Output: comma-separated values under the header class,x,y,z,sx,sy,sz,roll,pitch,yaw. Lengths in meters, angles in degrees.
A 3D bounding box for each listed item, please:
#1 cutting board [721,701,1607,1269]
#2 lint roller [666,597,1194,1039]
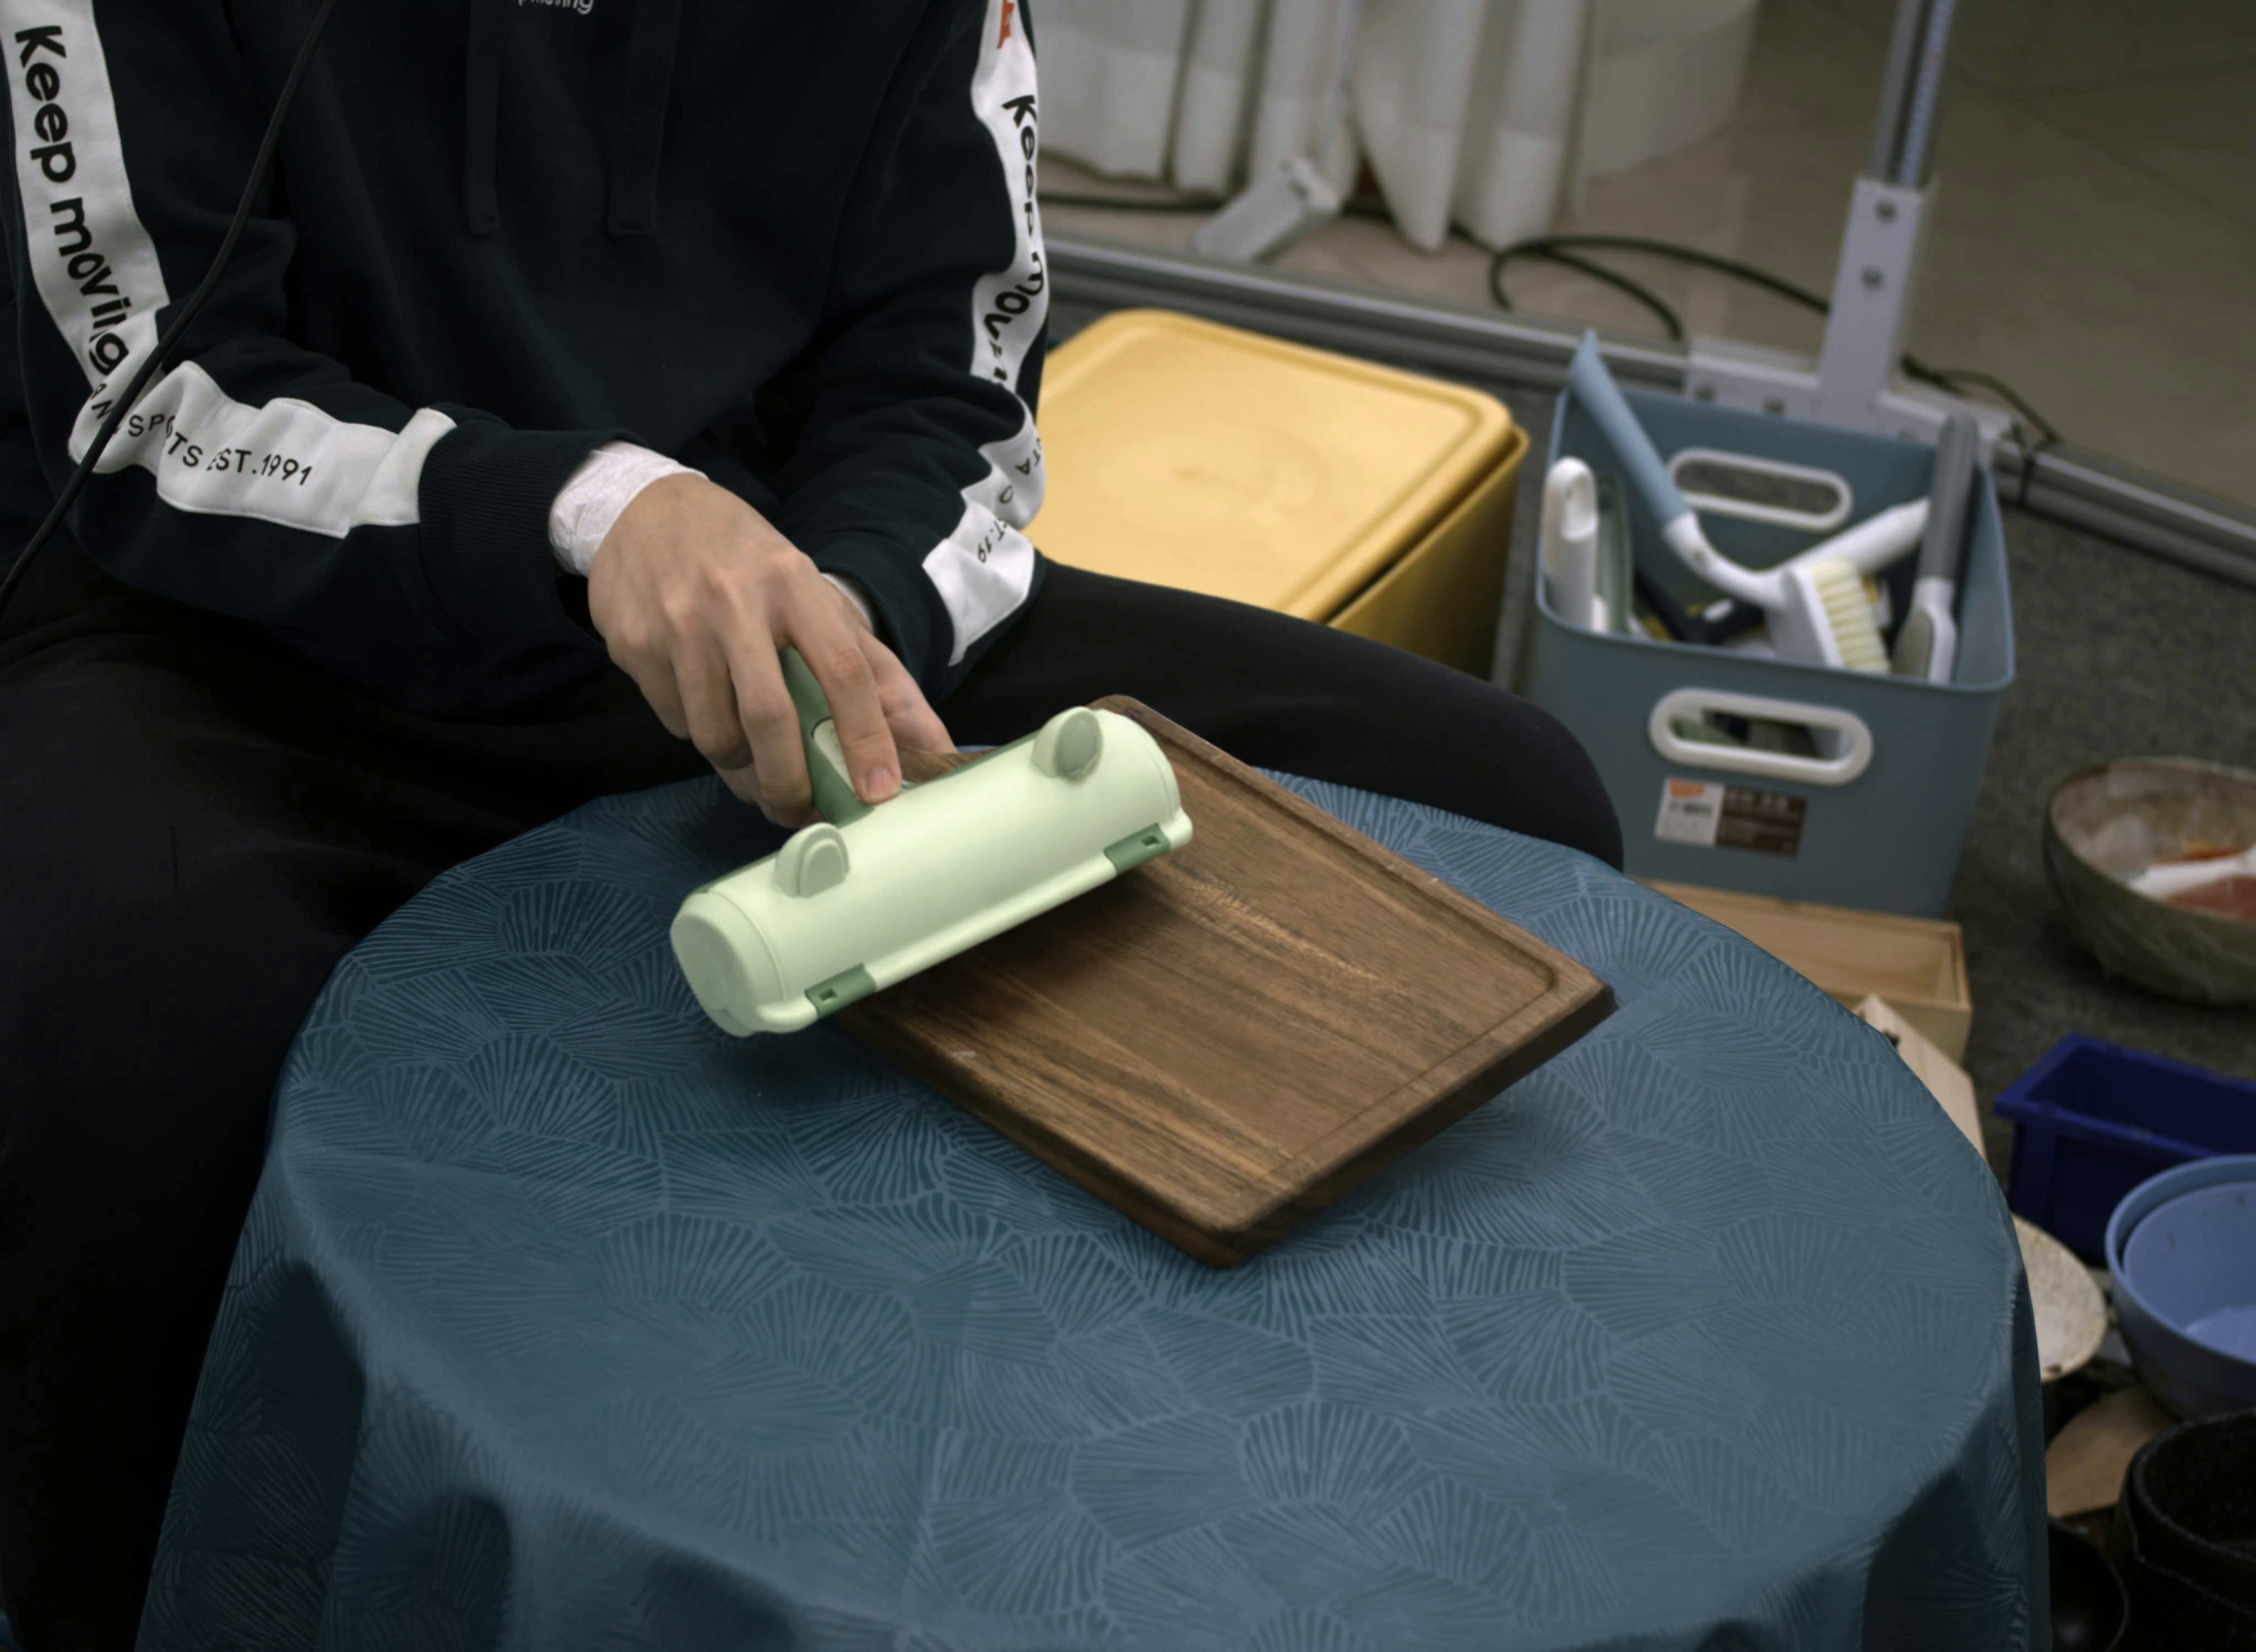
class,x,y,z,sx,sy,sz,roll,pitch,yaw
cutting board,-0.021,0.029,1.907,0.200,0.023,0.355,-30,45,-34
lint roller,-0.099,-0.029,1.875,0.198,0.082,0.184,-25,67,-33
